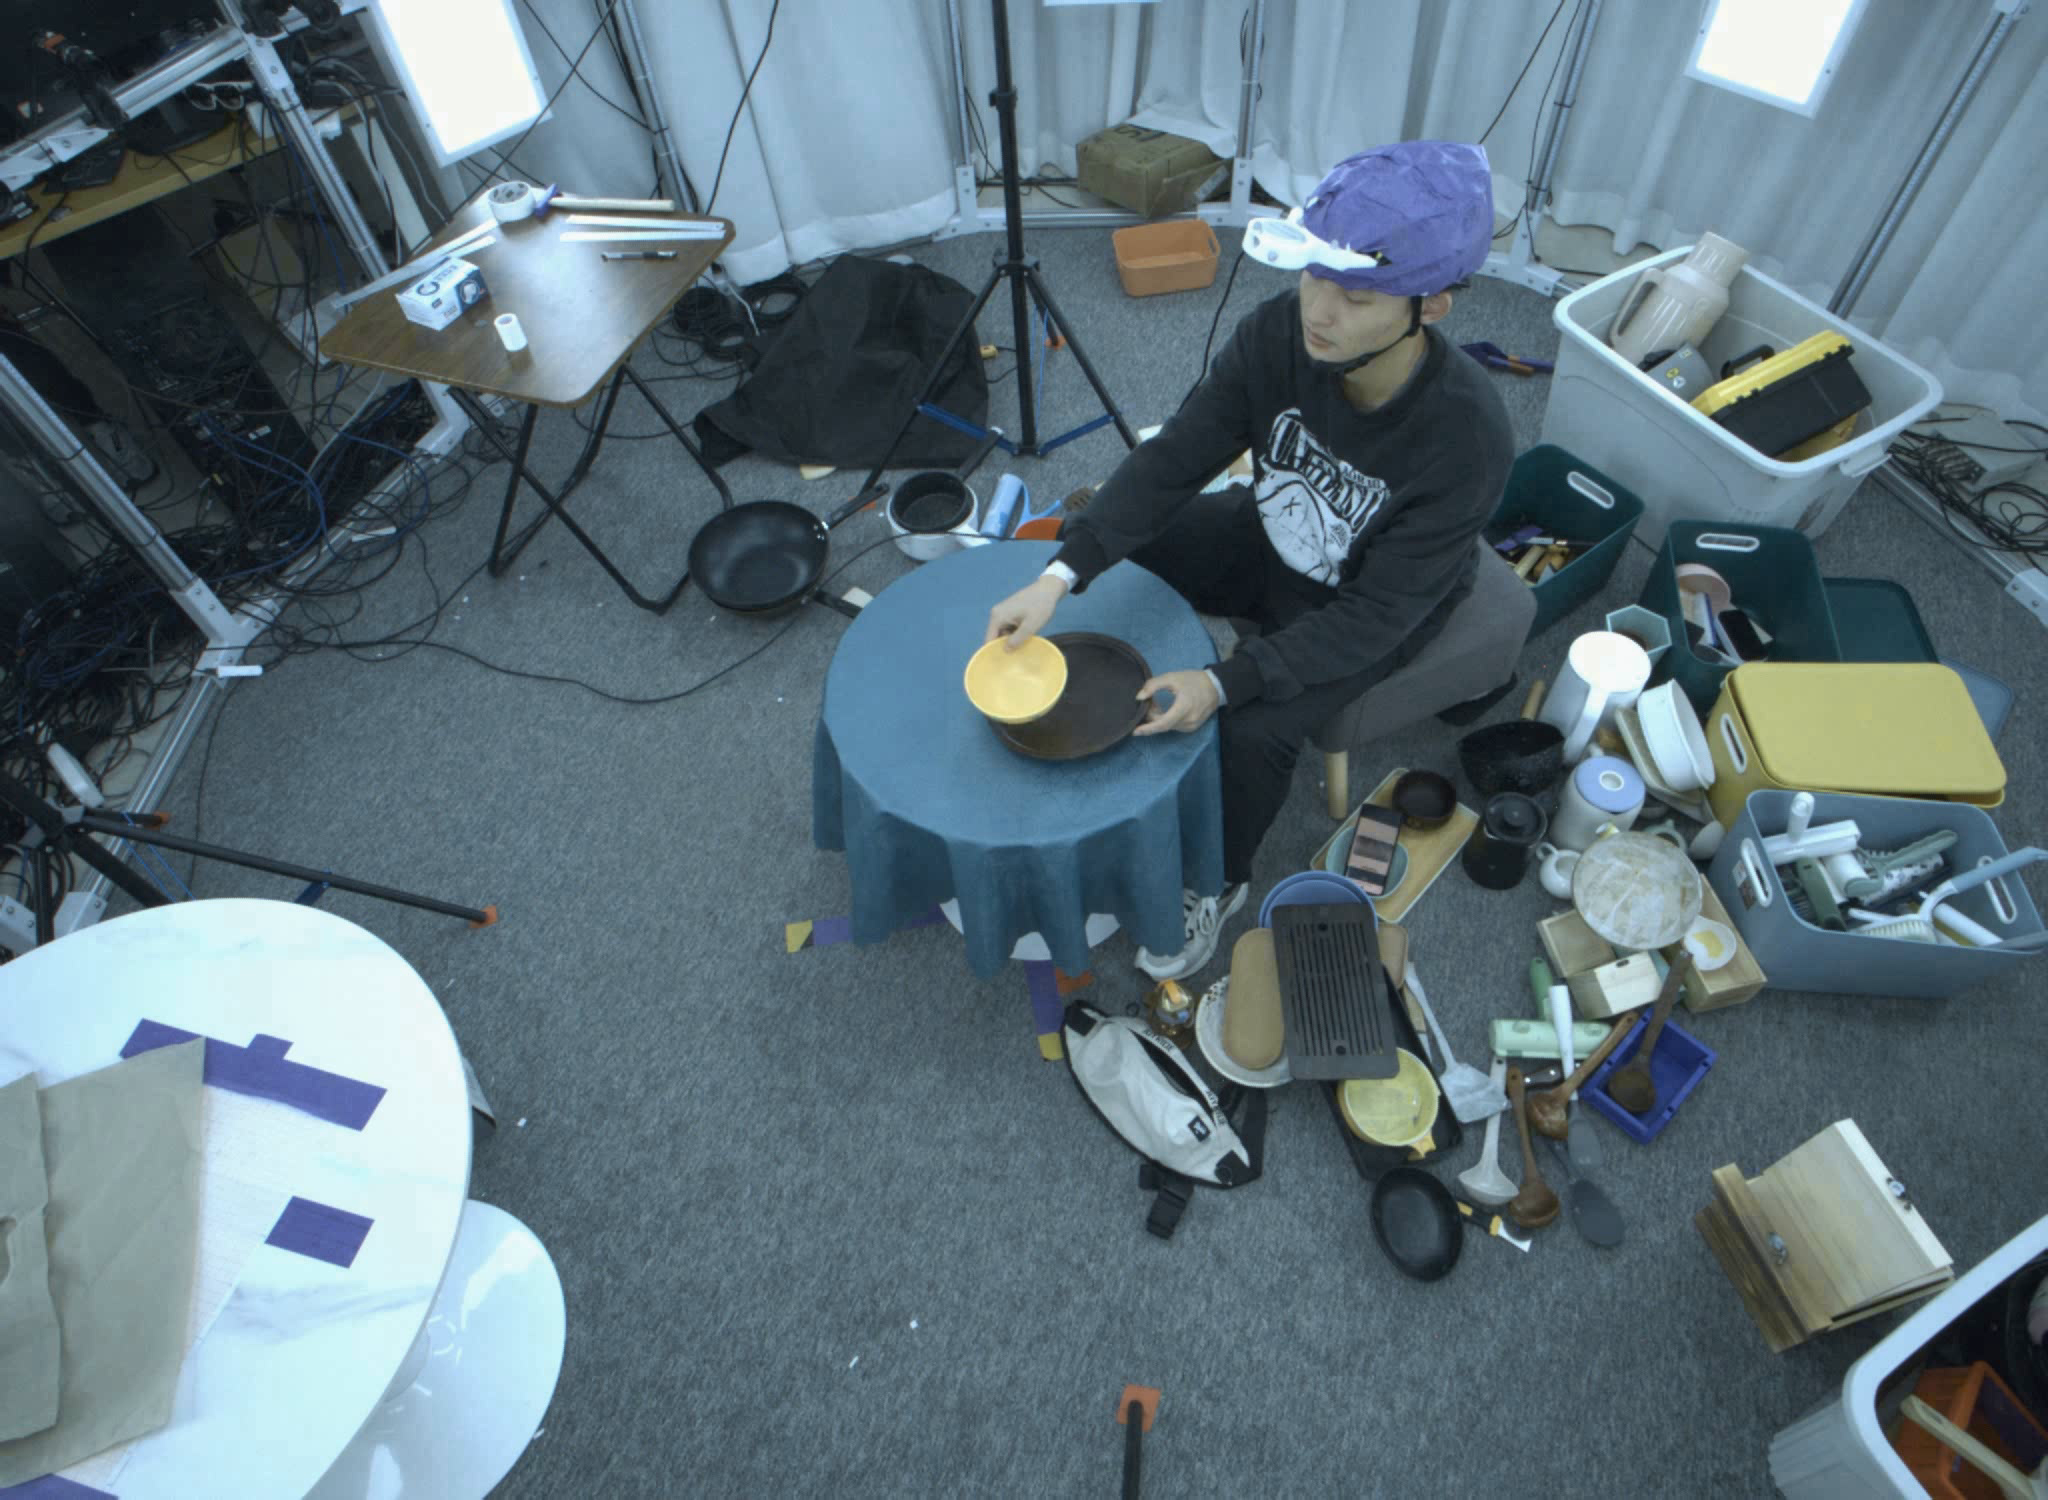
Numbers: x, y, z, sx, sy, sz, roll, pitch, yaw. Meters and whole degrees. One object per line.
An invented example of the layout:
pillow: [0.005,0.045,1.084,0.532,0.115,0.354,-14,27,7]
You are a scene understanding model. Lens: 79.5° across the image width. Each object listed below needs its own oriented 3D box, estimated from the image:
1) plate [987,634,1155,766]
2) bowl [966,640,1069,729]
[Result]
plate: [0.068,-0.075,1.816,0.253,0.029,0.252,-5,49,7]
bowl: [-0.007,-0.082,1.745,0.145,0.061,0.144,-1,58,3]
